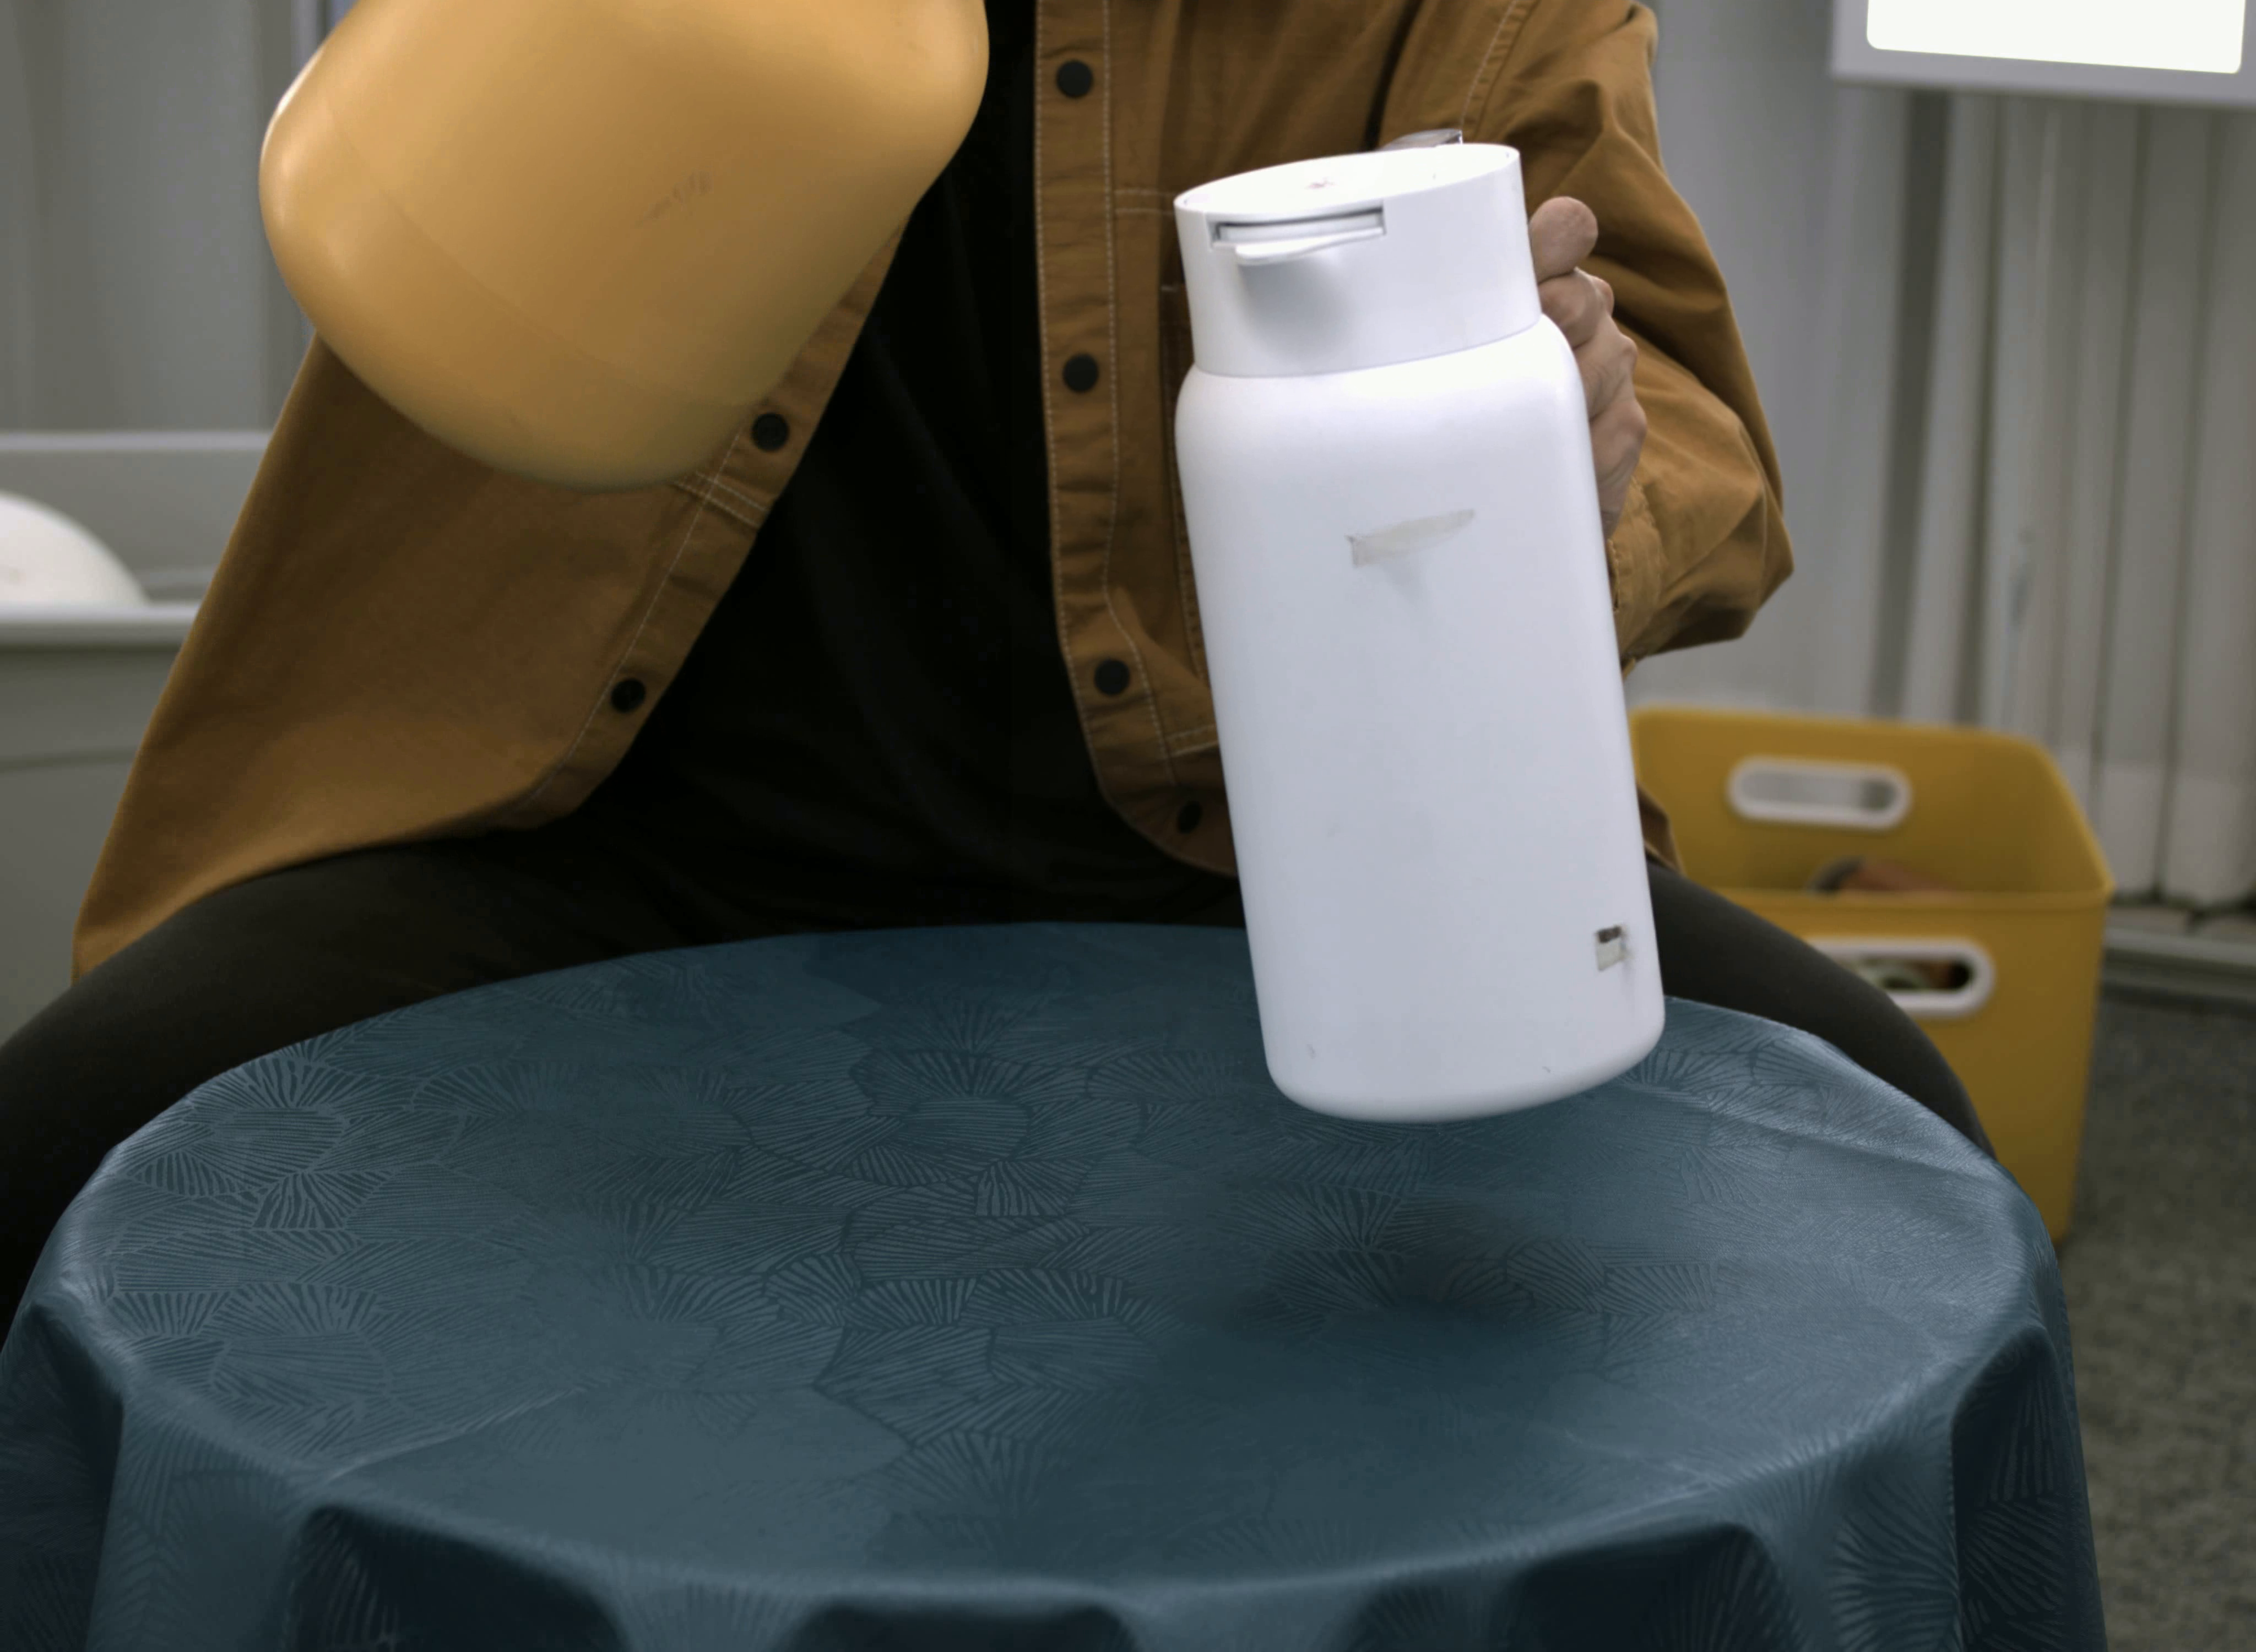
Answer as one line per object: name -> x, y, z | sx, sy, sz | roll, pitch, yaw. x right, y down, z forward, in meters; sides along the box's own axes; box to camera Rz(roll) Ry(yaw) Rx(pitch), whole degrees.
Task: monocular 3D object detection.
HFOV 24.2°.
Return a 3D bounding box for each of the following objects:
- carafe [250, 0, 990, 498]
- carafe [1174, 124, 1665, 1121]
carafe -> -0.137, -0.241, 1.485 | 0.203, 0.261, 0.162 | 38, 21, -8
carafe -> 0.086, -0.062, 1.514 | 0.122, 0.271, 0.173 | -4, 15, 24
